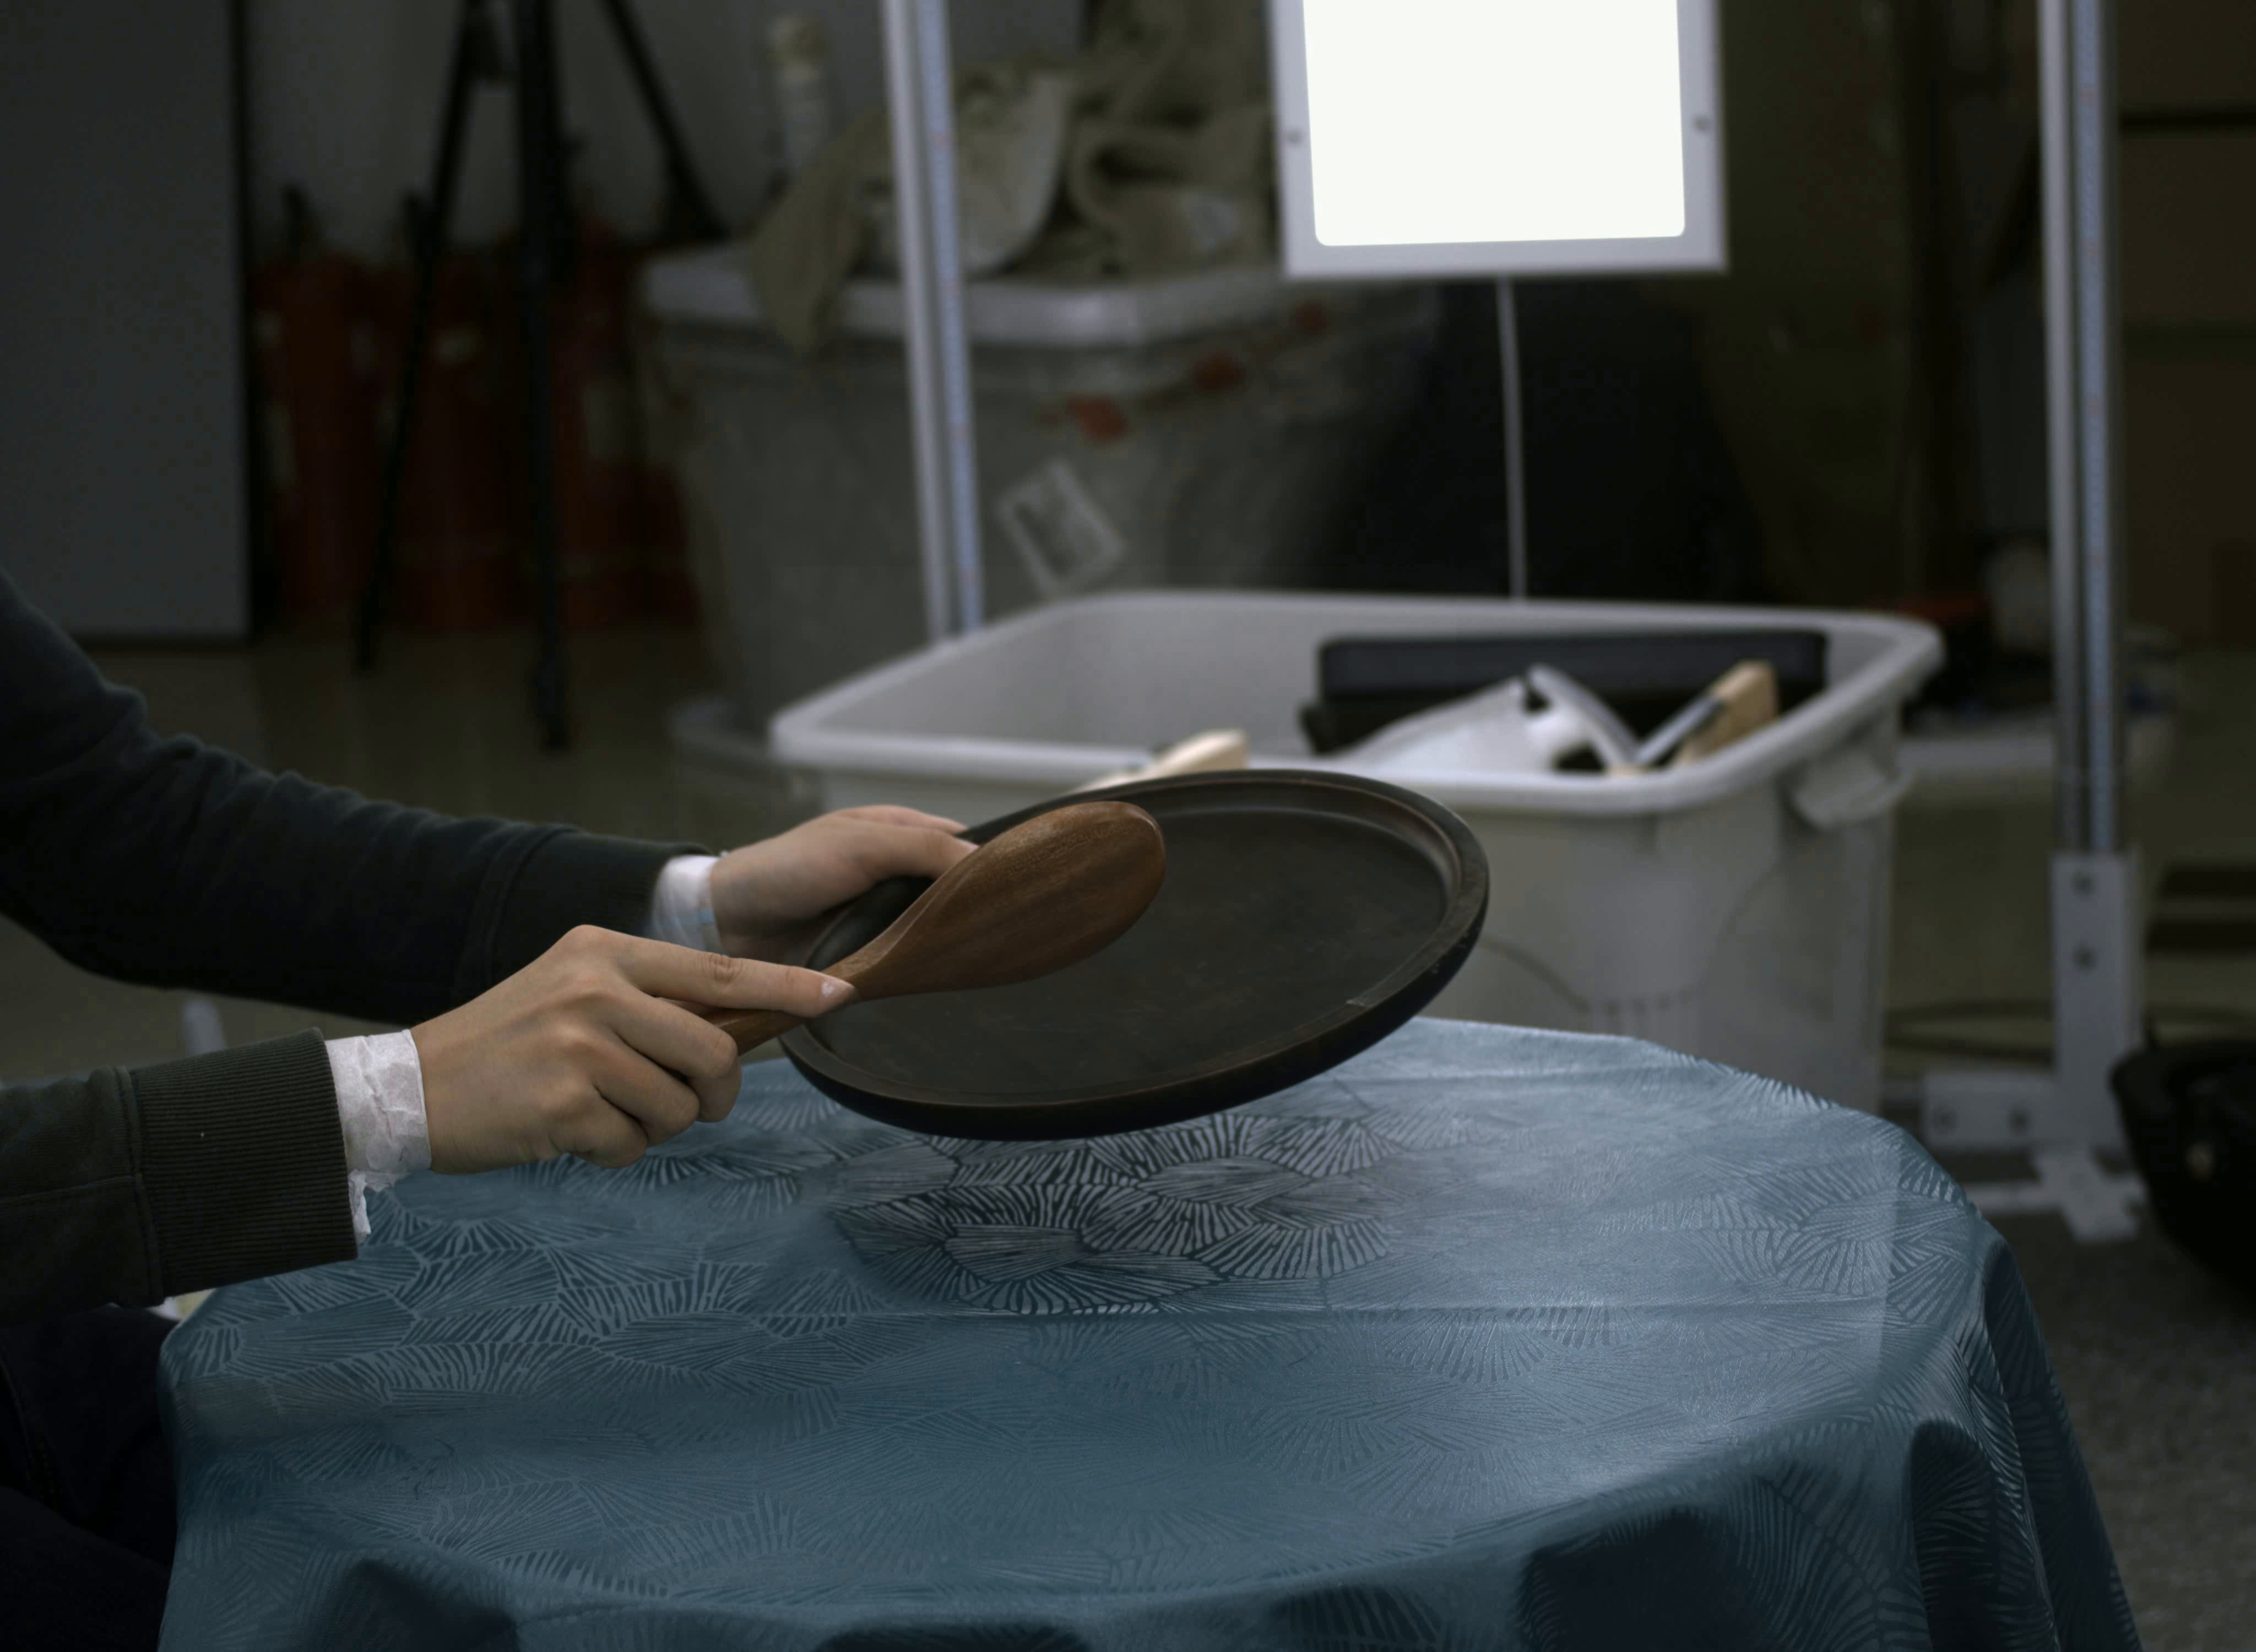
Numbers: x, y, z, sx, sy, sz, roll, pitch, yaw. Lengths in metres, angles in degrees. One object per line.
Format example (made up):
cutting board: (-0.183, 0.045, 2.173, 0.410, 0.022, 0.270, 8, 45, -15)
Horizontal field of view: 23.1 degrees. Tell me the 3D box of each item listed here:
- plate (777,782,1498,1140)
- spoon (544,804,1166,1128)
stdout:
plate: (0.004, 0.044, 1.892, 0.255, 0.029, 0.254, -11, 23, 3)
spoon: (-0.084, 0.048, 1.754, 0.214, 0.075, 0.017, -22, 55, -8)
